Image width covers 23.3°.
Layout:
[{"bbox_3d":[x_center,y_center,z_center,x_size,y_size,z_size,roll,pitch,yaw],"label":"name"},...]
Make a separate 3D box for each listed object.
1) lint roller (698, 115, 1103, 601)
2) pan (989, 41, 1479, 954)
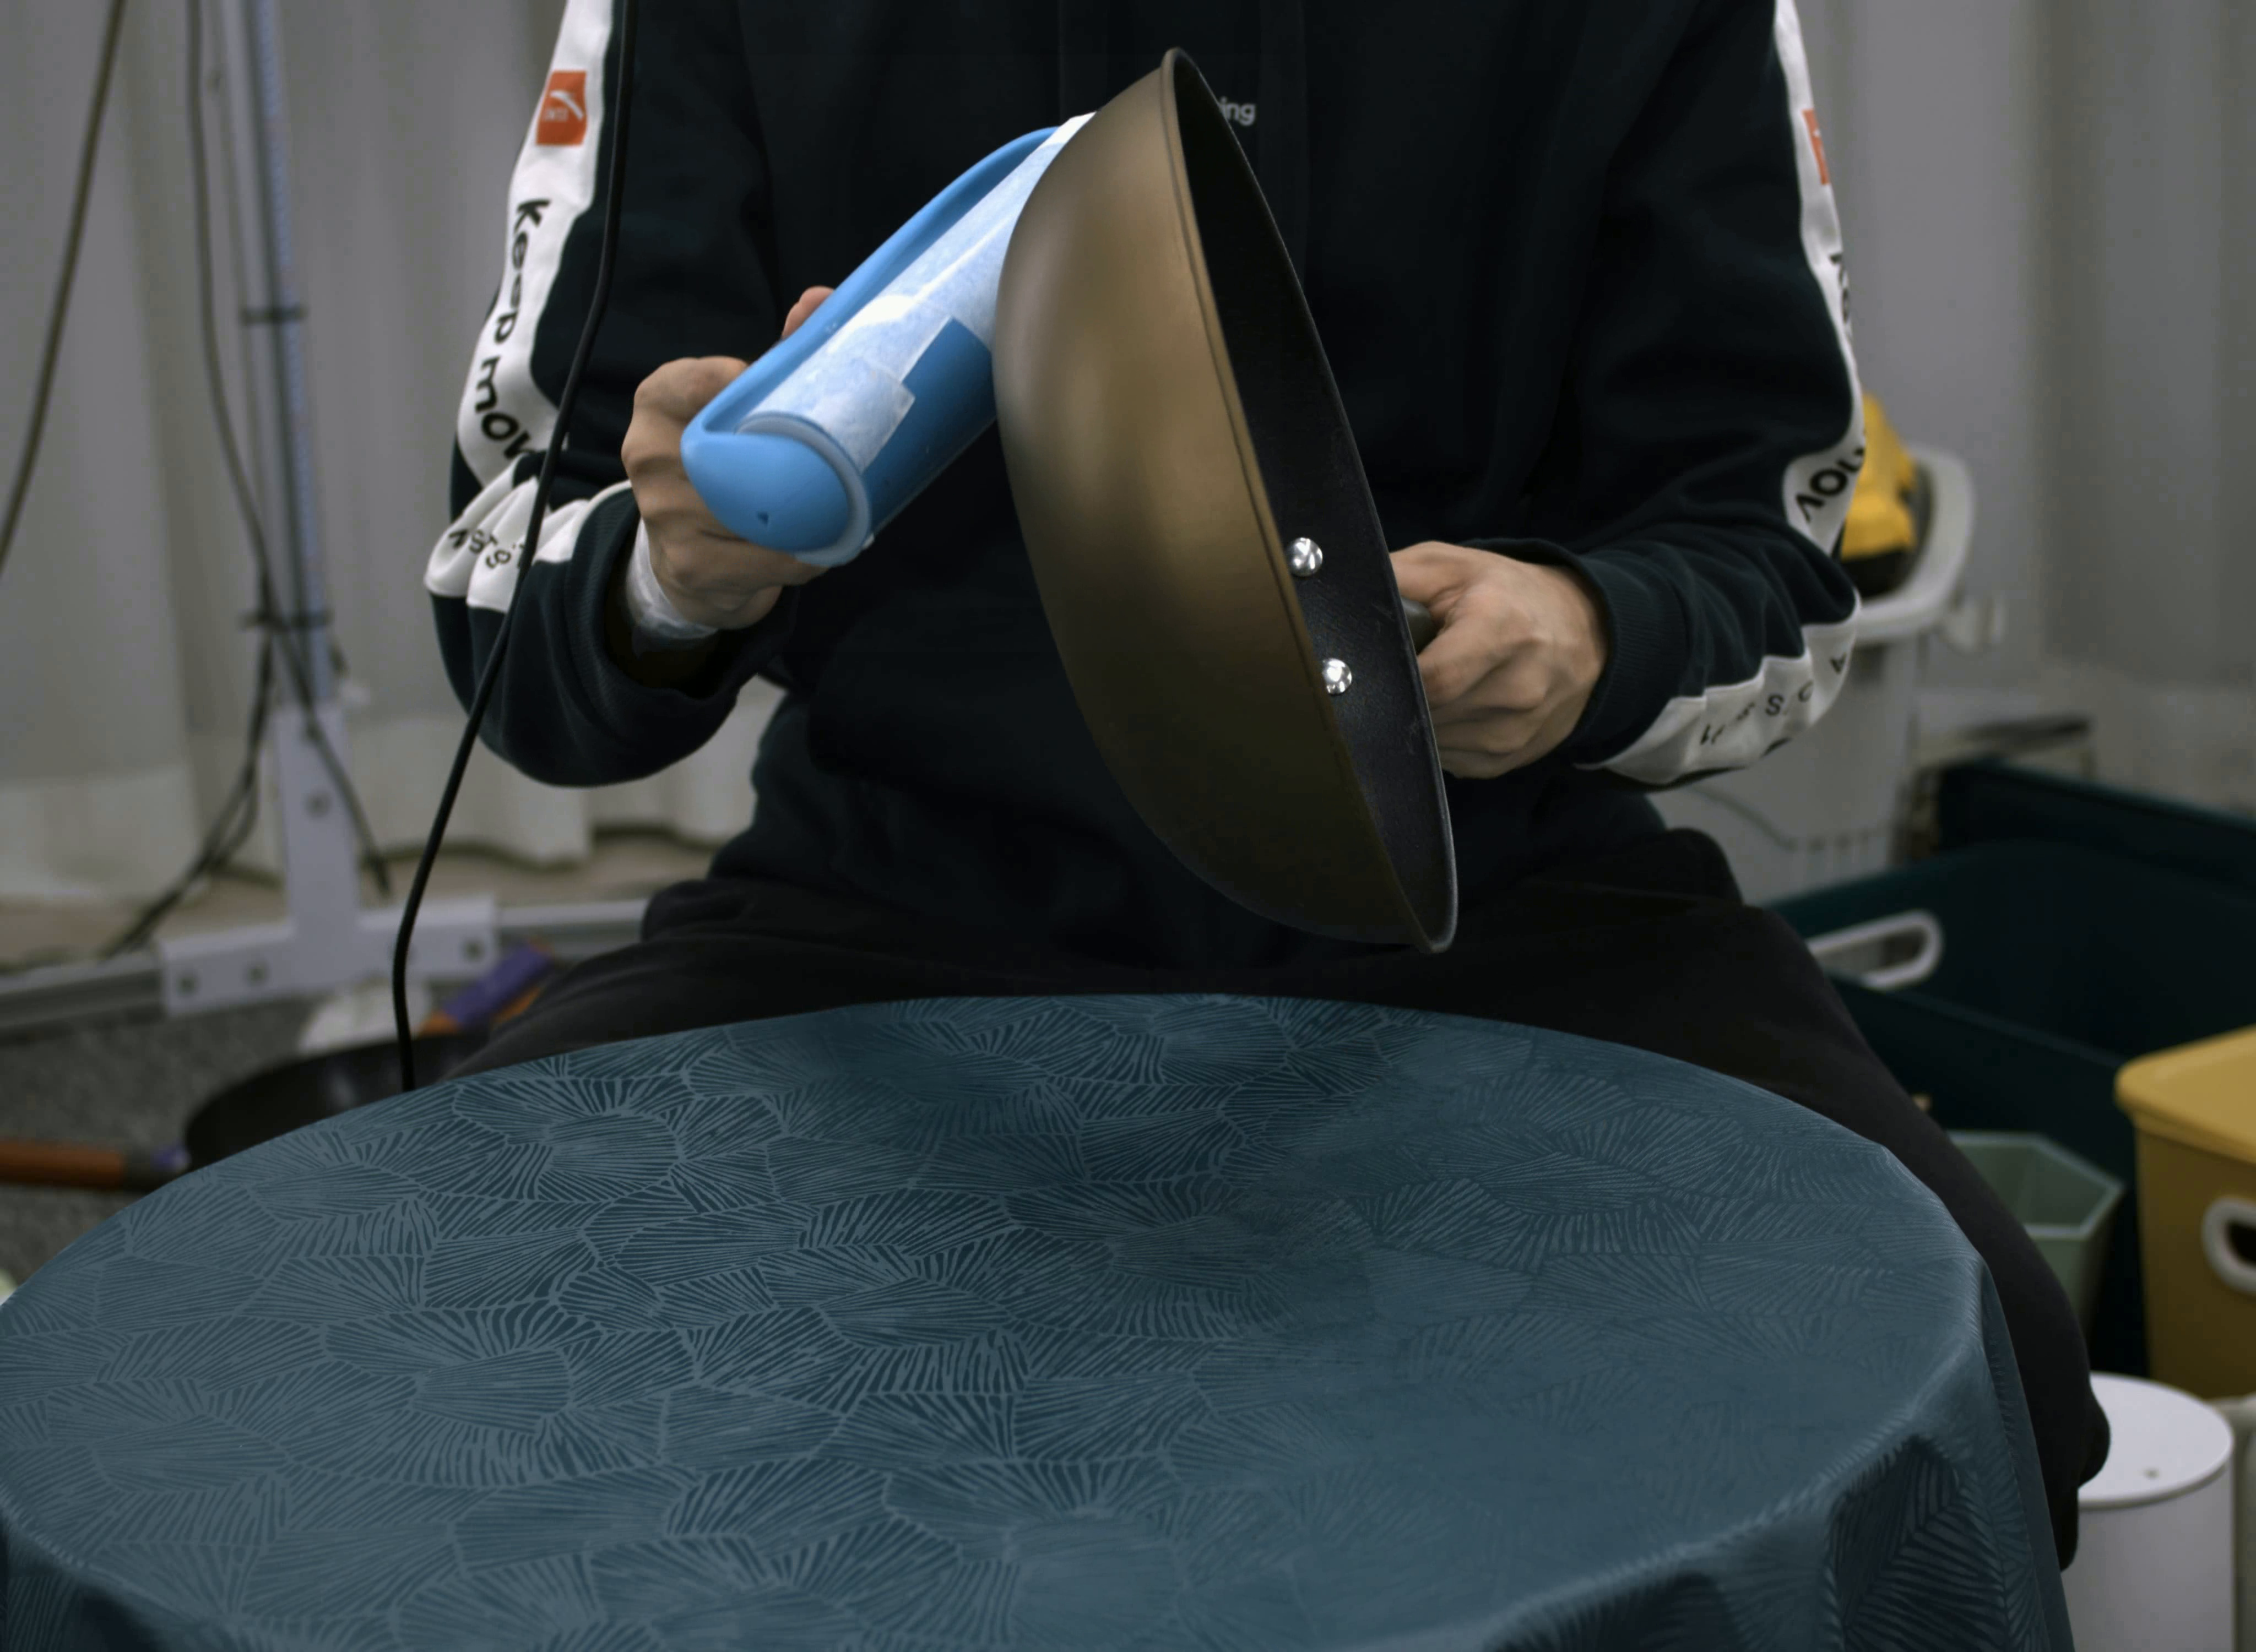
[{"bbox_3d":[-0.086,-0.133,1.758,0.179,0.067,0.231,-33,13,43],"label":"lint roller"},{"bbox_3d":[0.039,-0.070,1.740,0.086,0.291,0.460,-16,-15,8],"label":"pan"}]
